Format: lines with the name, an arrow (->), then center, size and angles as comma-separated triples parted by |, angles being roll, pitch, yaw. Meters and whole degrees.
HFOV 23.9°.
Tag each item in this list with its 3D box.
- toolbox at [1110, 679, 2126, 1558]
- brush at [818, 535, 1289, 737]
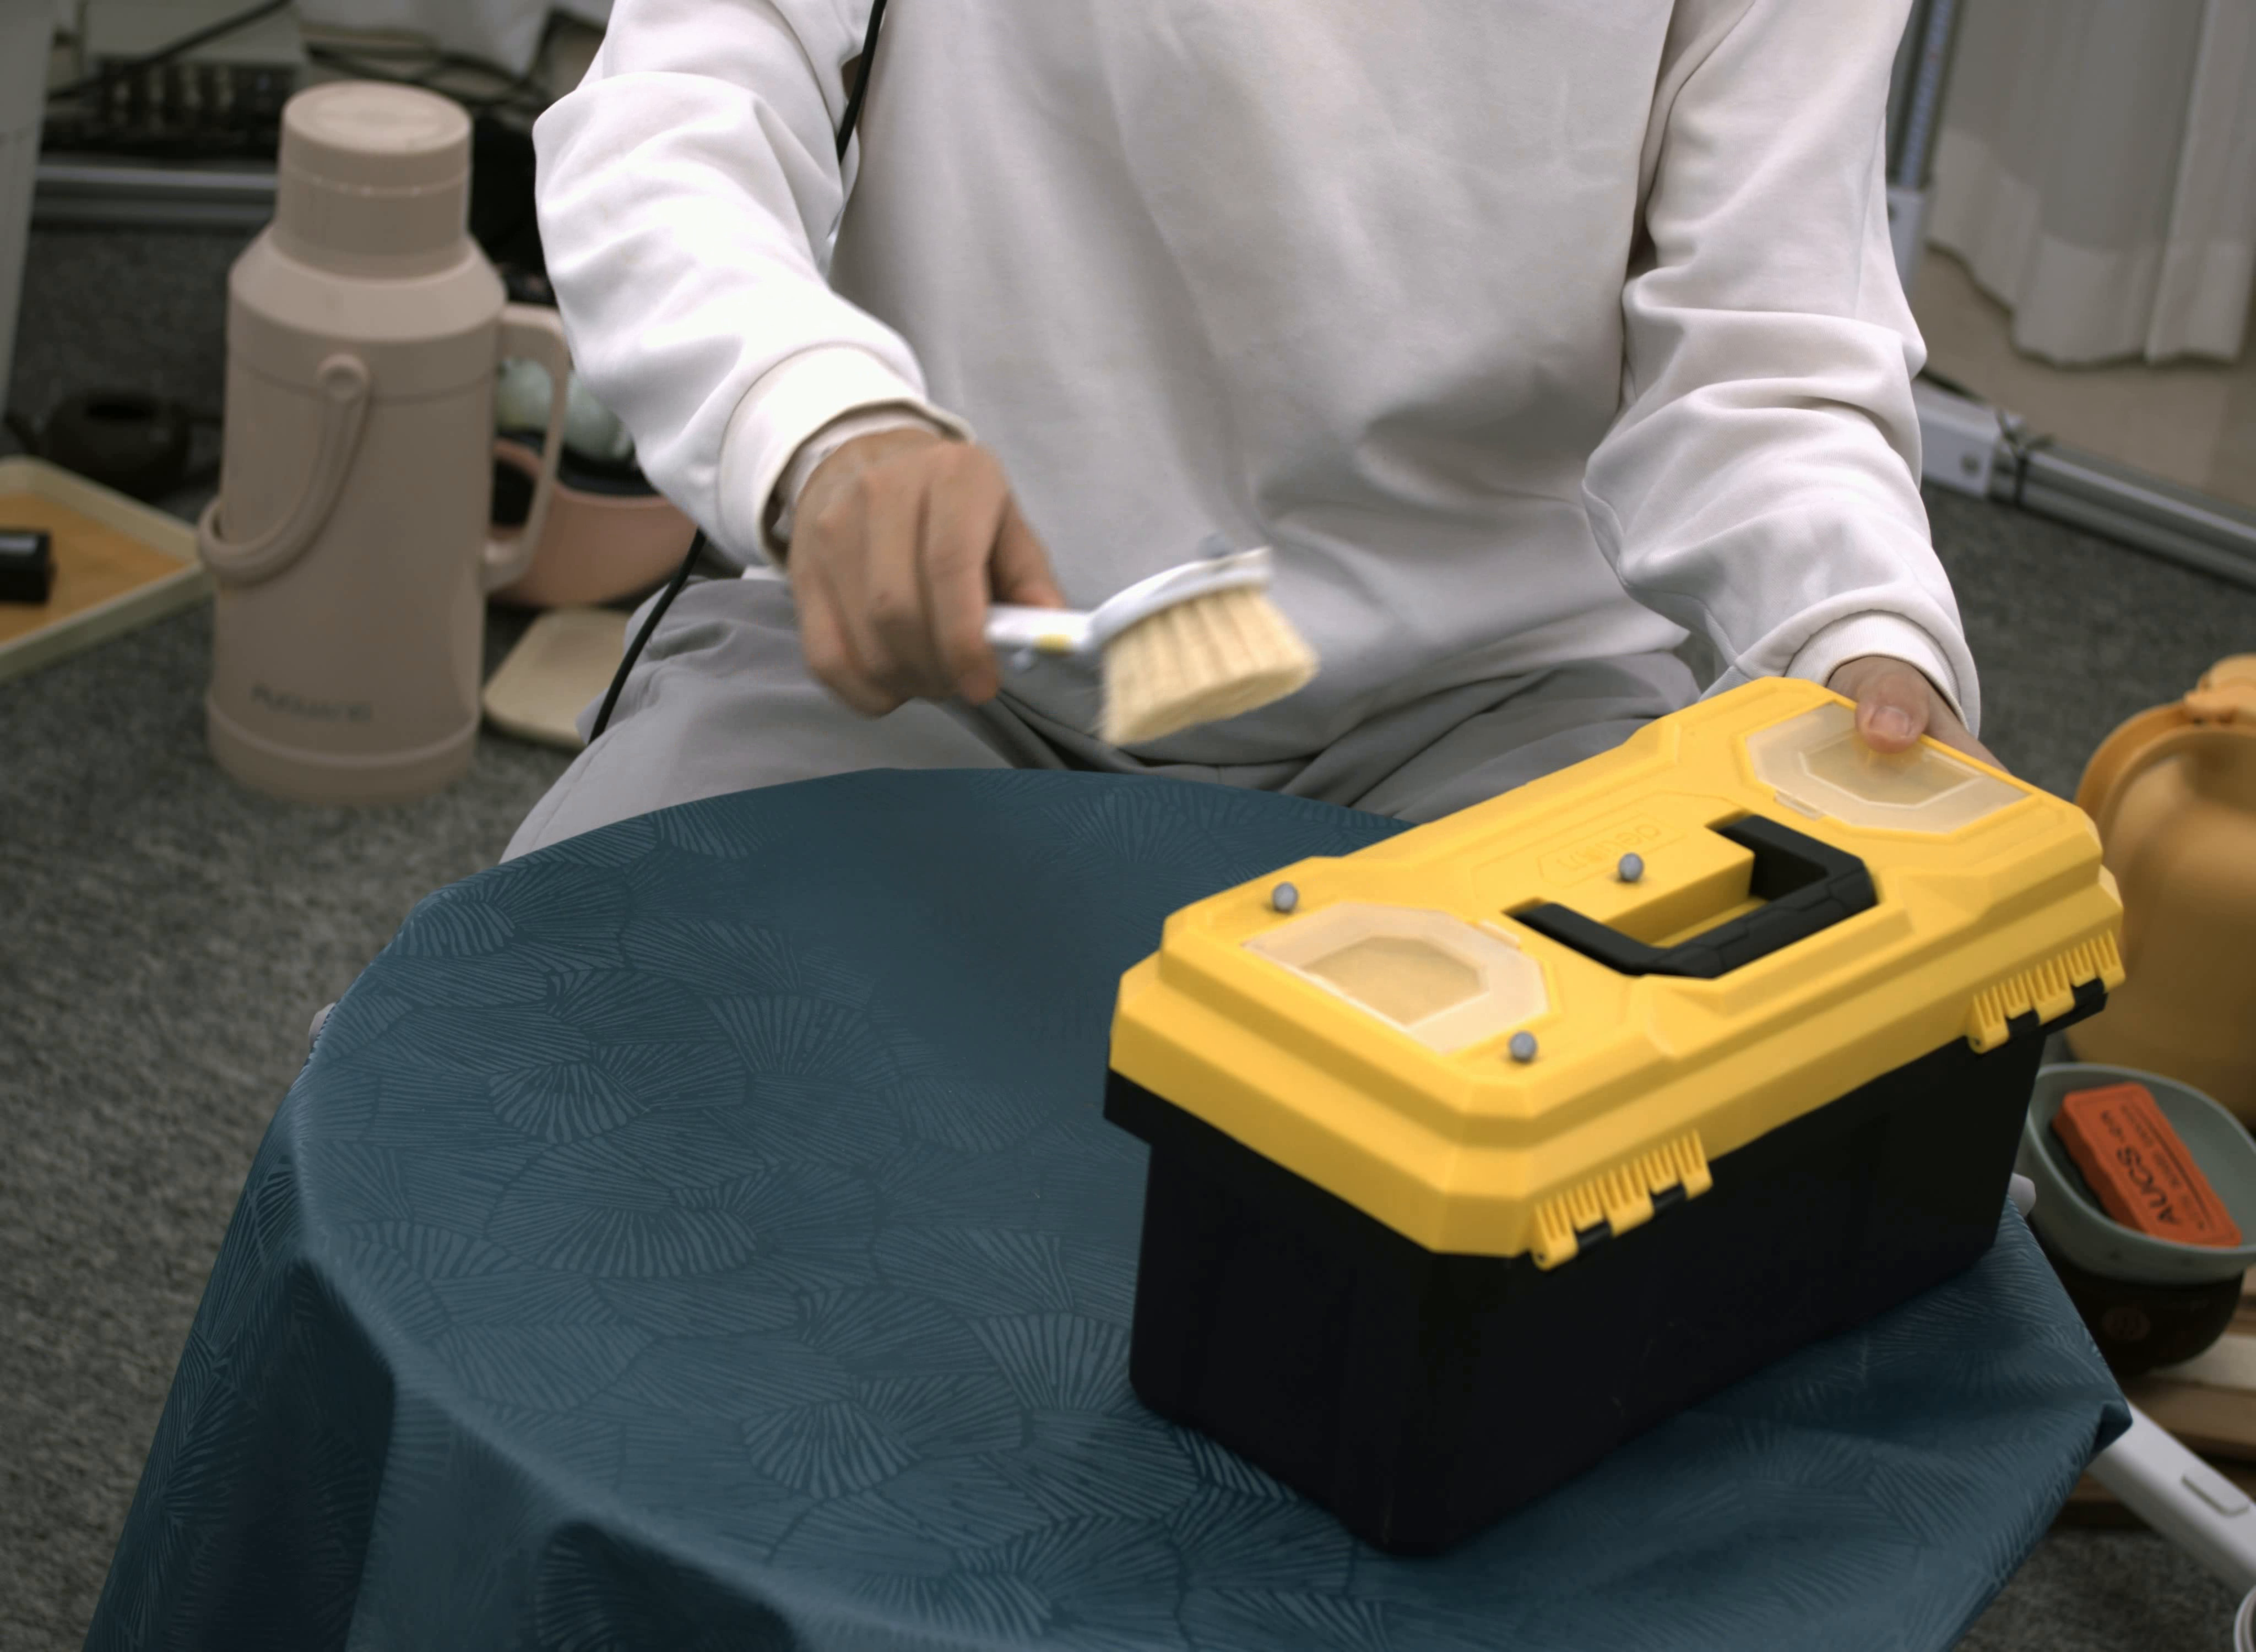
toolbox -> 0.156, 0.088, 1.724 | 0.182, 0.172, 0.350 | 28, 33, 36
brush -> -0.033, -0.049, 1.740 | 0.068, 0.056, 0.267 | 1, -7, -29
